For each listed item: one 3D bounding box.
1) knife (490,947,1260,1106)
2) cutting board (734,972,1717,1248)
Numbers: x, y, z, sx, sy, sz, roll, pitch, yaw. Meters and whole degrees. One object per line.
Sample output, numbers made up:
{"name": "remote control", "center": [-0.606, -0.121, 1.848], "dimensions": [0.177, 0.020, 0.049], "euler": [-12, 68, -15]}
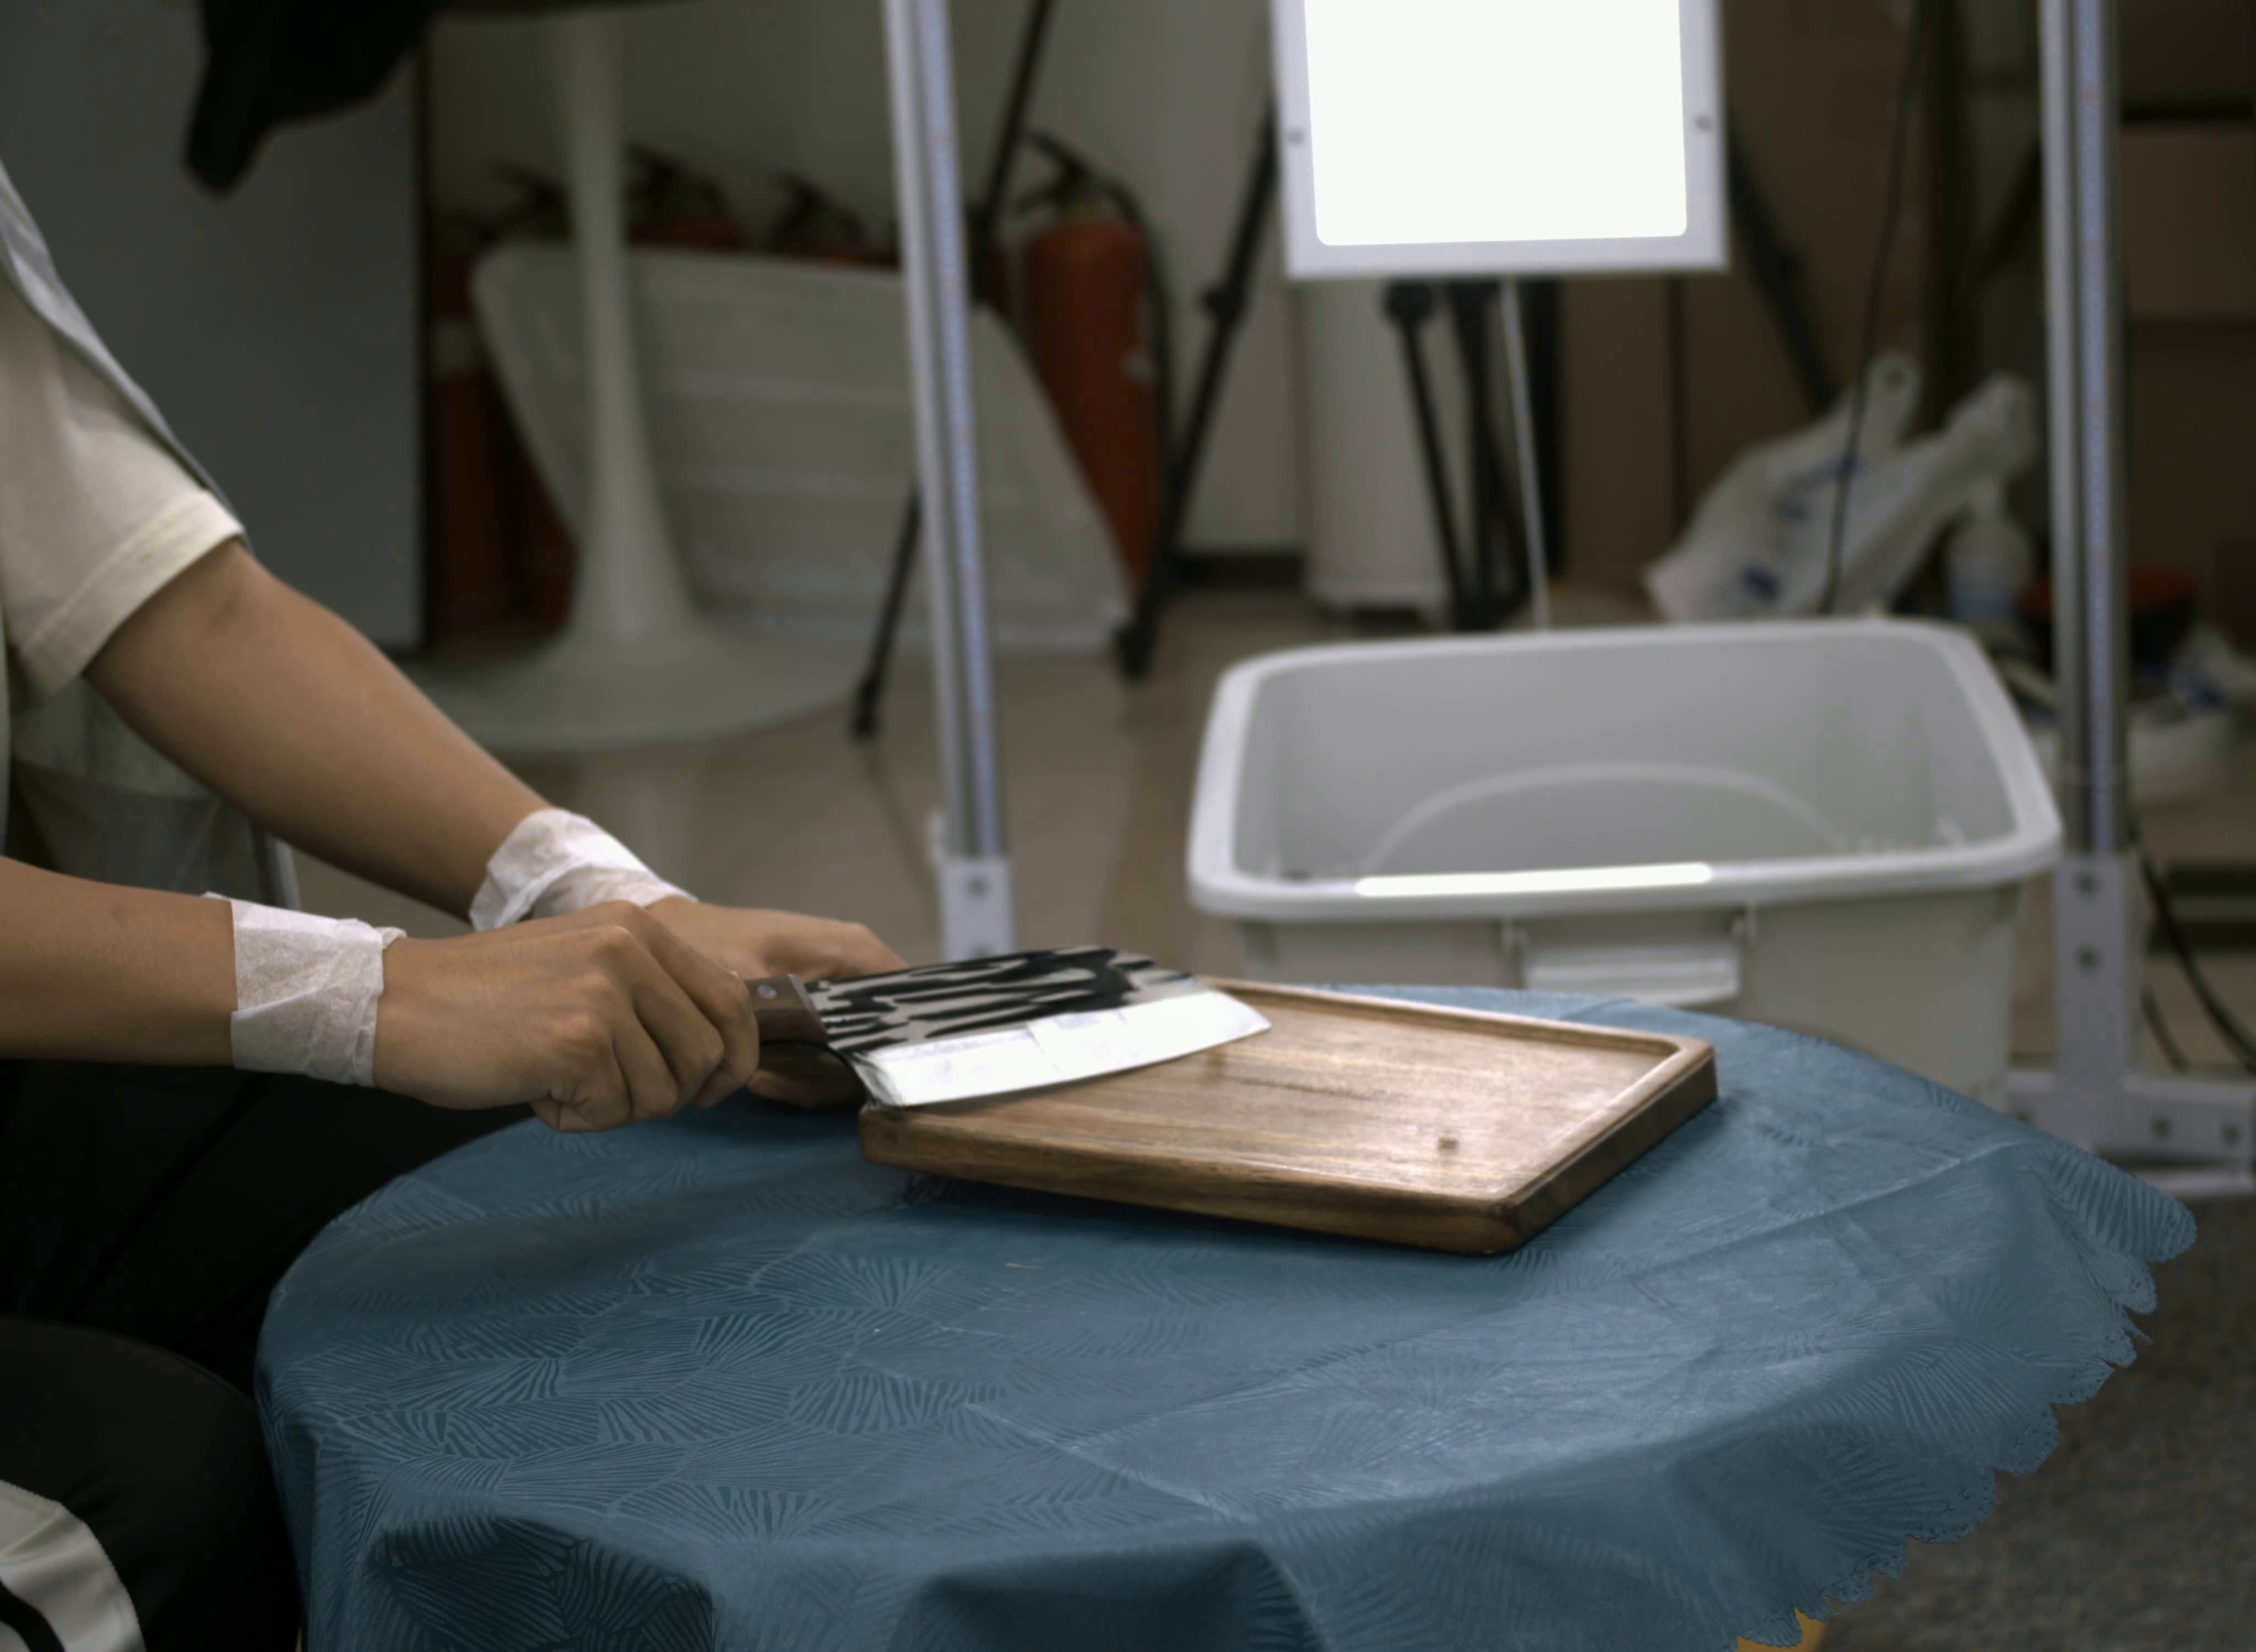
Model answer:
{"name": "knife", "center": [-0.082, 0.073, 1.927], "dimensions": [0.292, 0.024, 0.069], "euler": [-6, 41, -34]}
{"name": "cutting board", "center": [0.014, 0.091, 1.953], "dimensions": [0.358, 0.023, 0.196], "euler": [6, 17, 29]}
